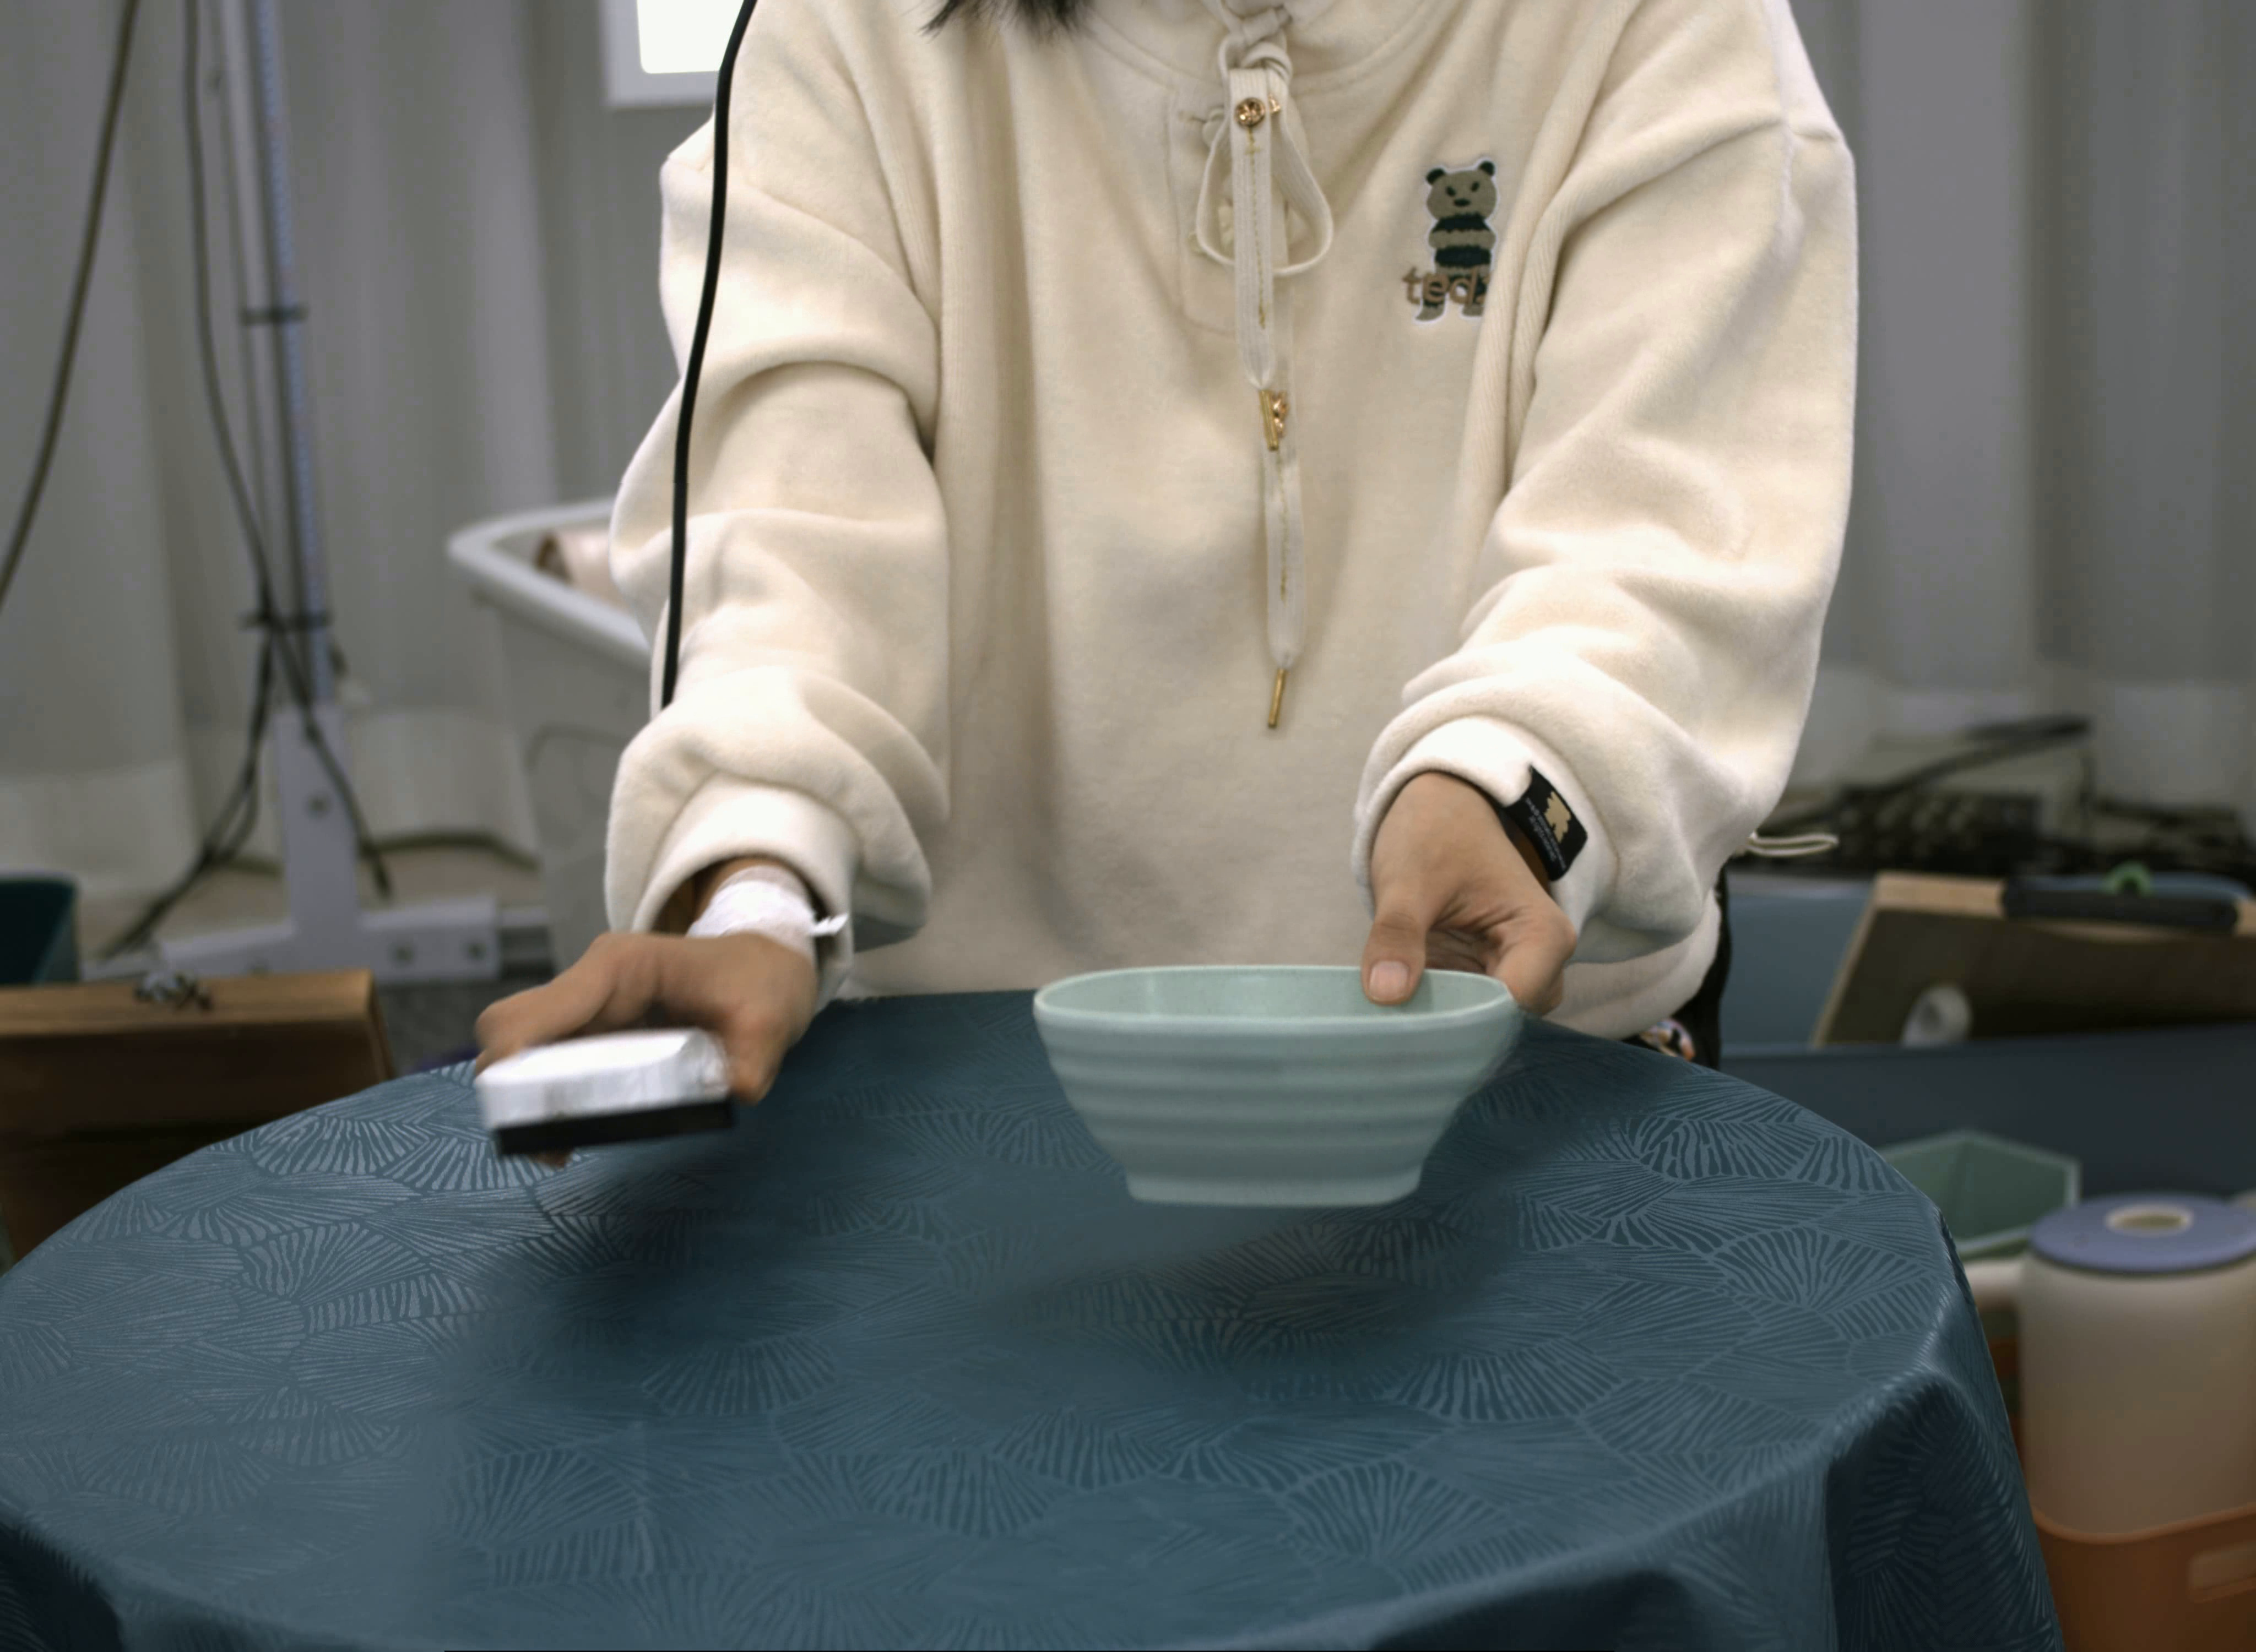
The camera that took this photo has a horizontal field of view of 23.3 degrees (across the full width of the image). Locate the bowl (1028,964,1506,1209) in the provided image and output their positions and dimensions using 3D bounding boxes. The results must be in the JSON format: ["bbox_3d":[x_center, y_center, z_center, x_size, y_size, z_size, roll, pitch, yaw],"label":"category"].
[{"bbox_3d":[0.040,0.076,1.595,0.151,0.059,0.151,2,4,0],"label":"bowl"}]

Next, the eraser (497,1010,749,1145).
[{"bbox_3d":[-0.148,0.076,1.639,0.063,0.035,0.131,-7,-2,4],"label":"eraser"}]
